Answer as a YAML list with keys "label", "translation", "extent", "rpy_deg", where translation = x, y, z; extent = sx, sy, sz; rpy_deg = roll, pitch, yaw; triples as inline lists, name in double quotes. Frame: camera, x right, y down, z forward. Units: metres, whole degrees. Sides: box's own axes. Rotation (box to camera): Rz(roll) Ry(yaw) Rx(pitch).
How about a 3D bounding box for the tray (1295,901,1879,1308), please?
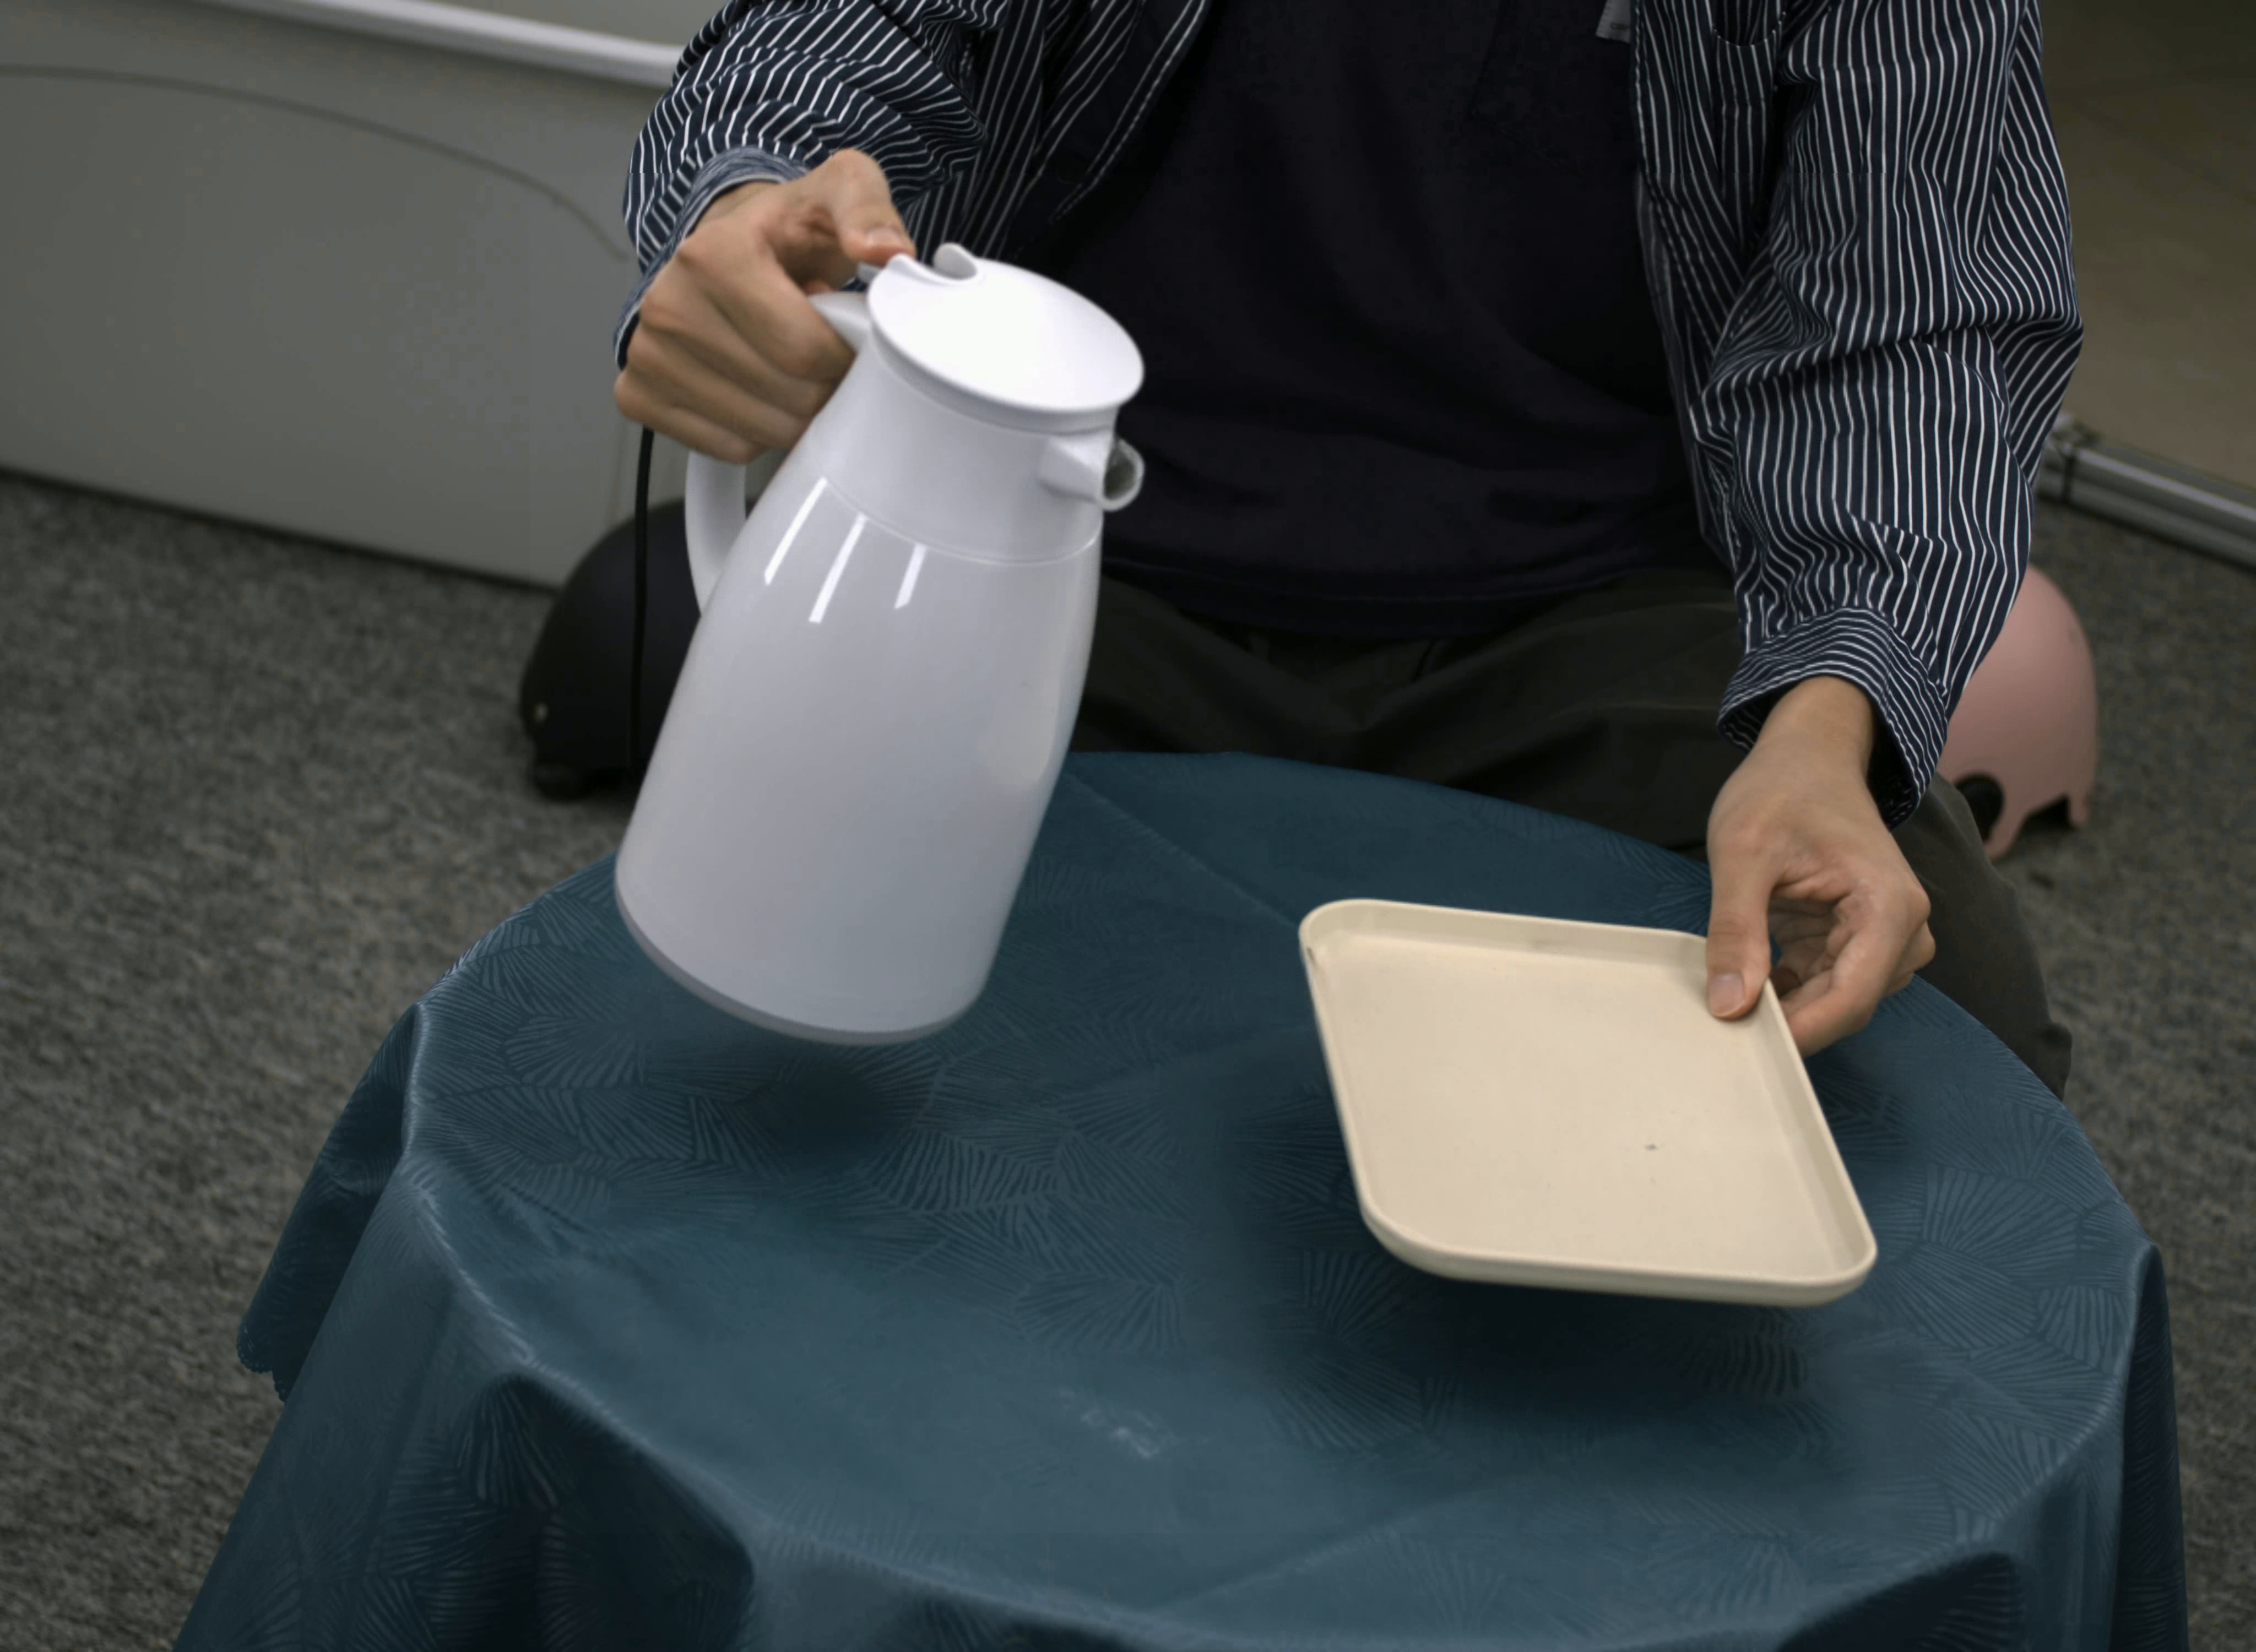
- label: "tray"
  translation: [0.148, 0.092, 1.776]
  extent: [0.170, 0.017, 0.241]
  rpy_deg: [6, 25, -8]

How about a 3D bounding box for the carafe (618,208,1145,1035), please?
- label: "carafe"
  translation: [-0.089, -0.078, 1.753]
  extent: [0.169, 0.248, 0.132]
  rpy_deg: [36, 35, 26]
